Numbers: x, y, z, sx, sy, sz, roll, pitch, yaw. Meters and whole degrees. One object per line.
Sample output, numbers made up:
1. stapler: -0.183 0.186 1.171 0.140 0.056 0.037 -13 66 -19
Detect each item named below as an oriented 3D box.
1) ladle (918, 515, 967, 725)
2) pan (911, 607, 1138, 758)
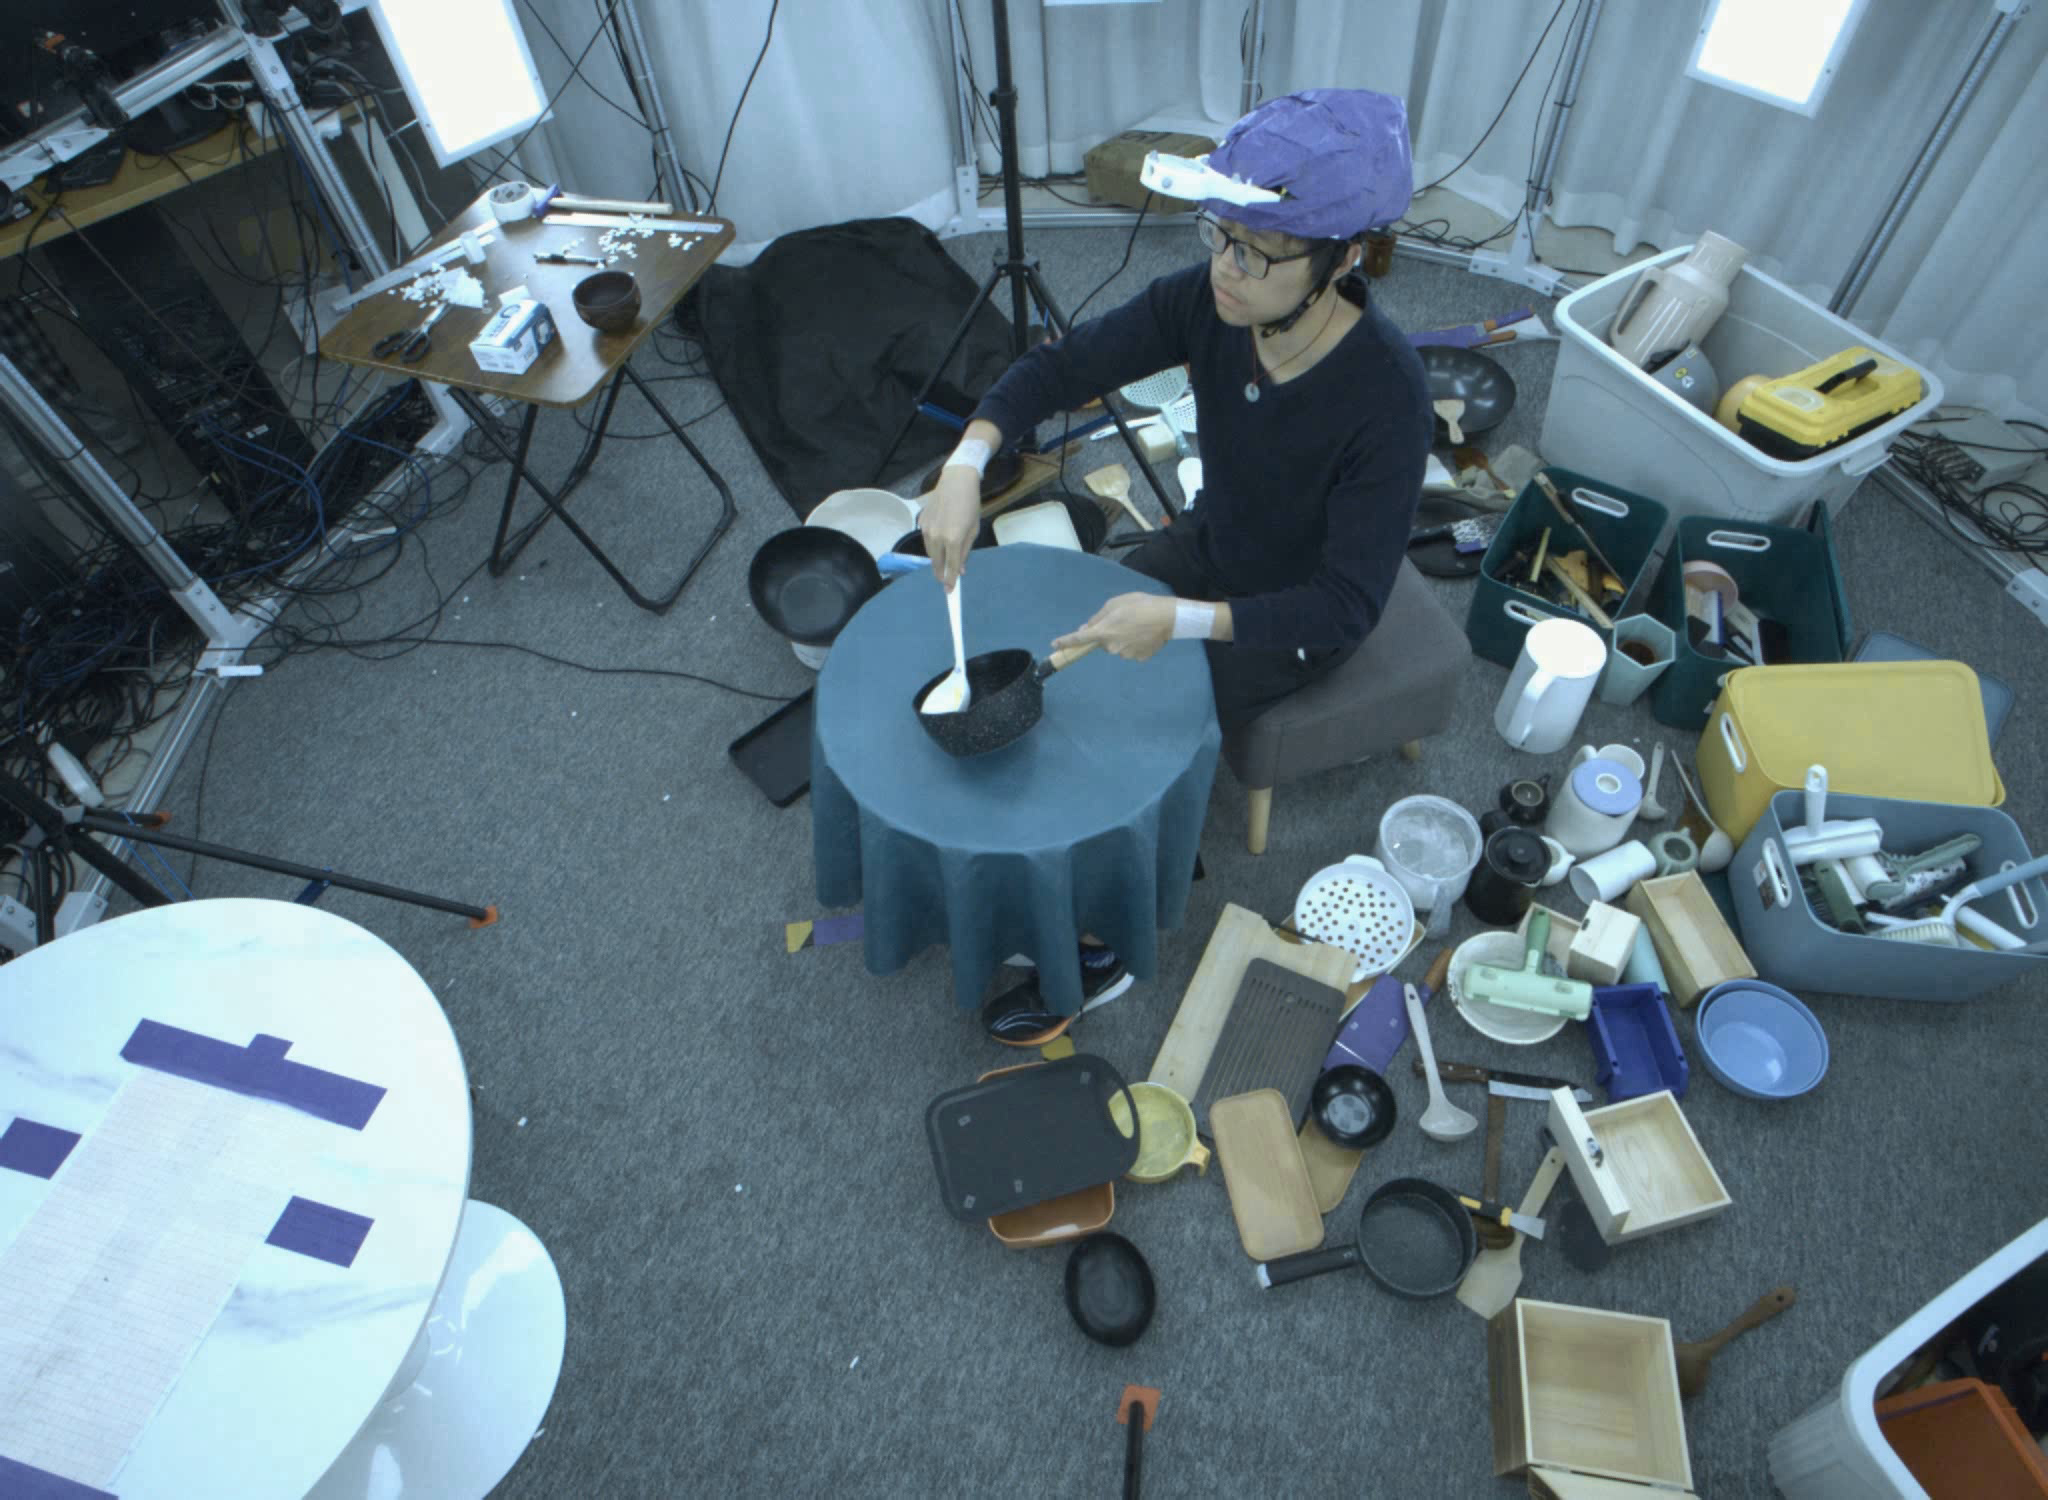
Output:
1. ladle: -0.114 -0.180 1.710 0.071 0.294 0.088 -5 11 -26
2. pan: 0.011 -0.097 1.725 0.341 0.109 0.206 -19 24 10
